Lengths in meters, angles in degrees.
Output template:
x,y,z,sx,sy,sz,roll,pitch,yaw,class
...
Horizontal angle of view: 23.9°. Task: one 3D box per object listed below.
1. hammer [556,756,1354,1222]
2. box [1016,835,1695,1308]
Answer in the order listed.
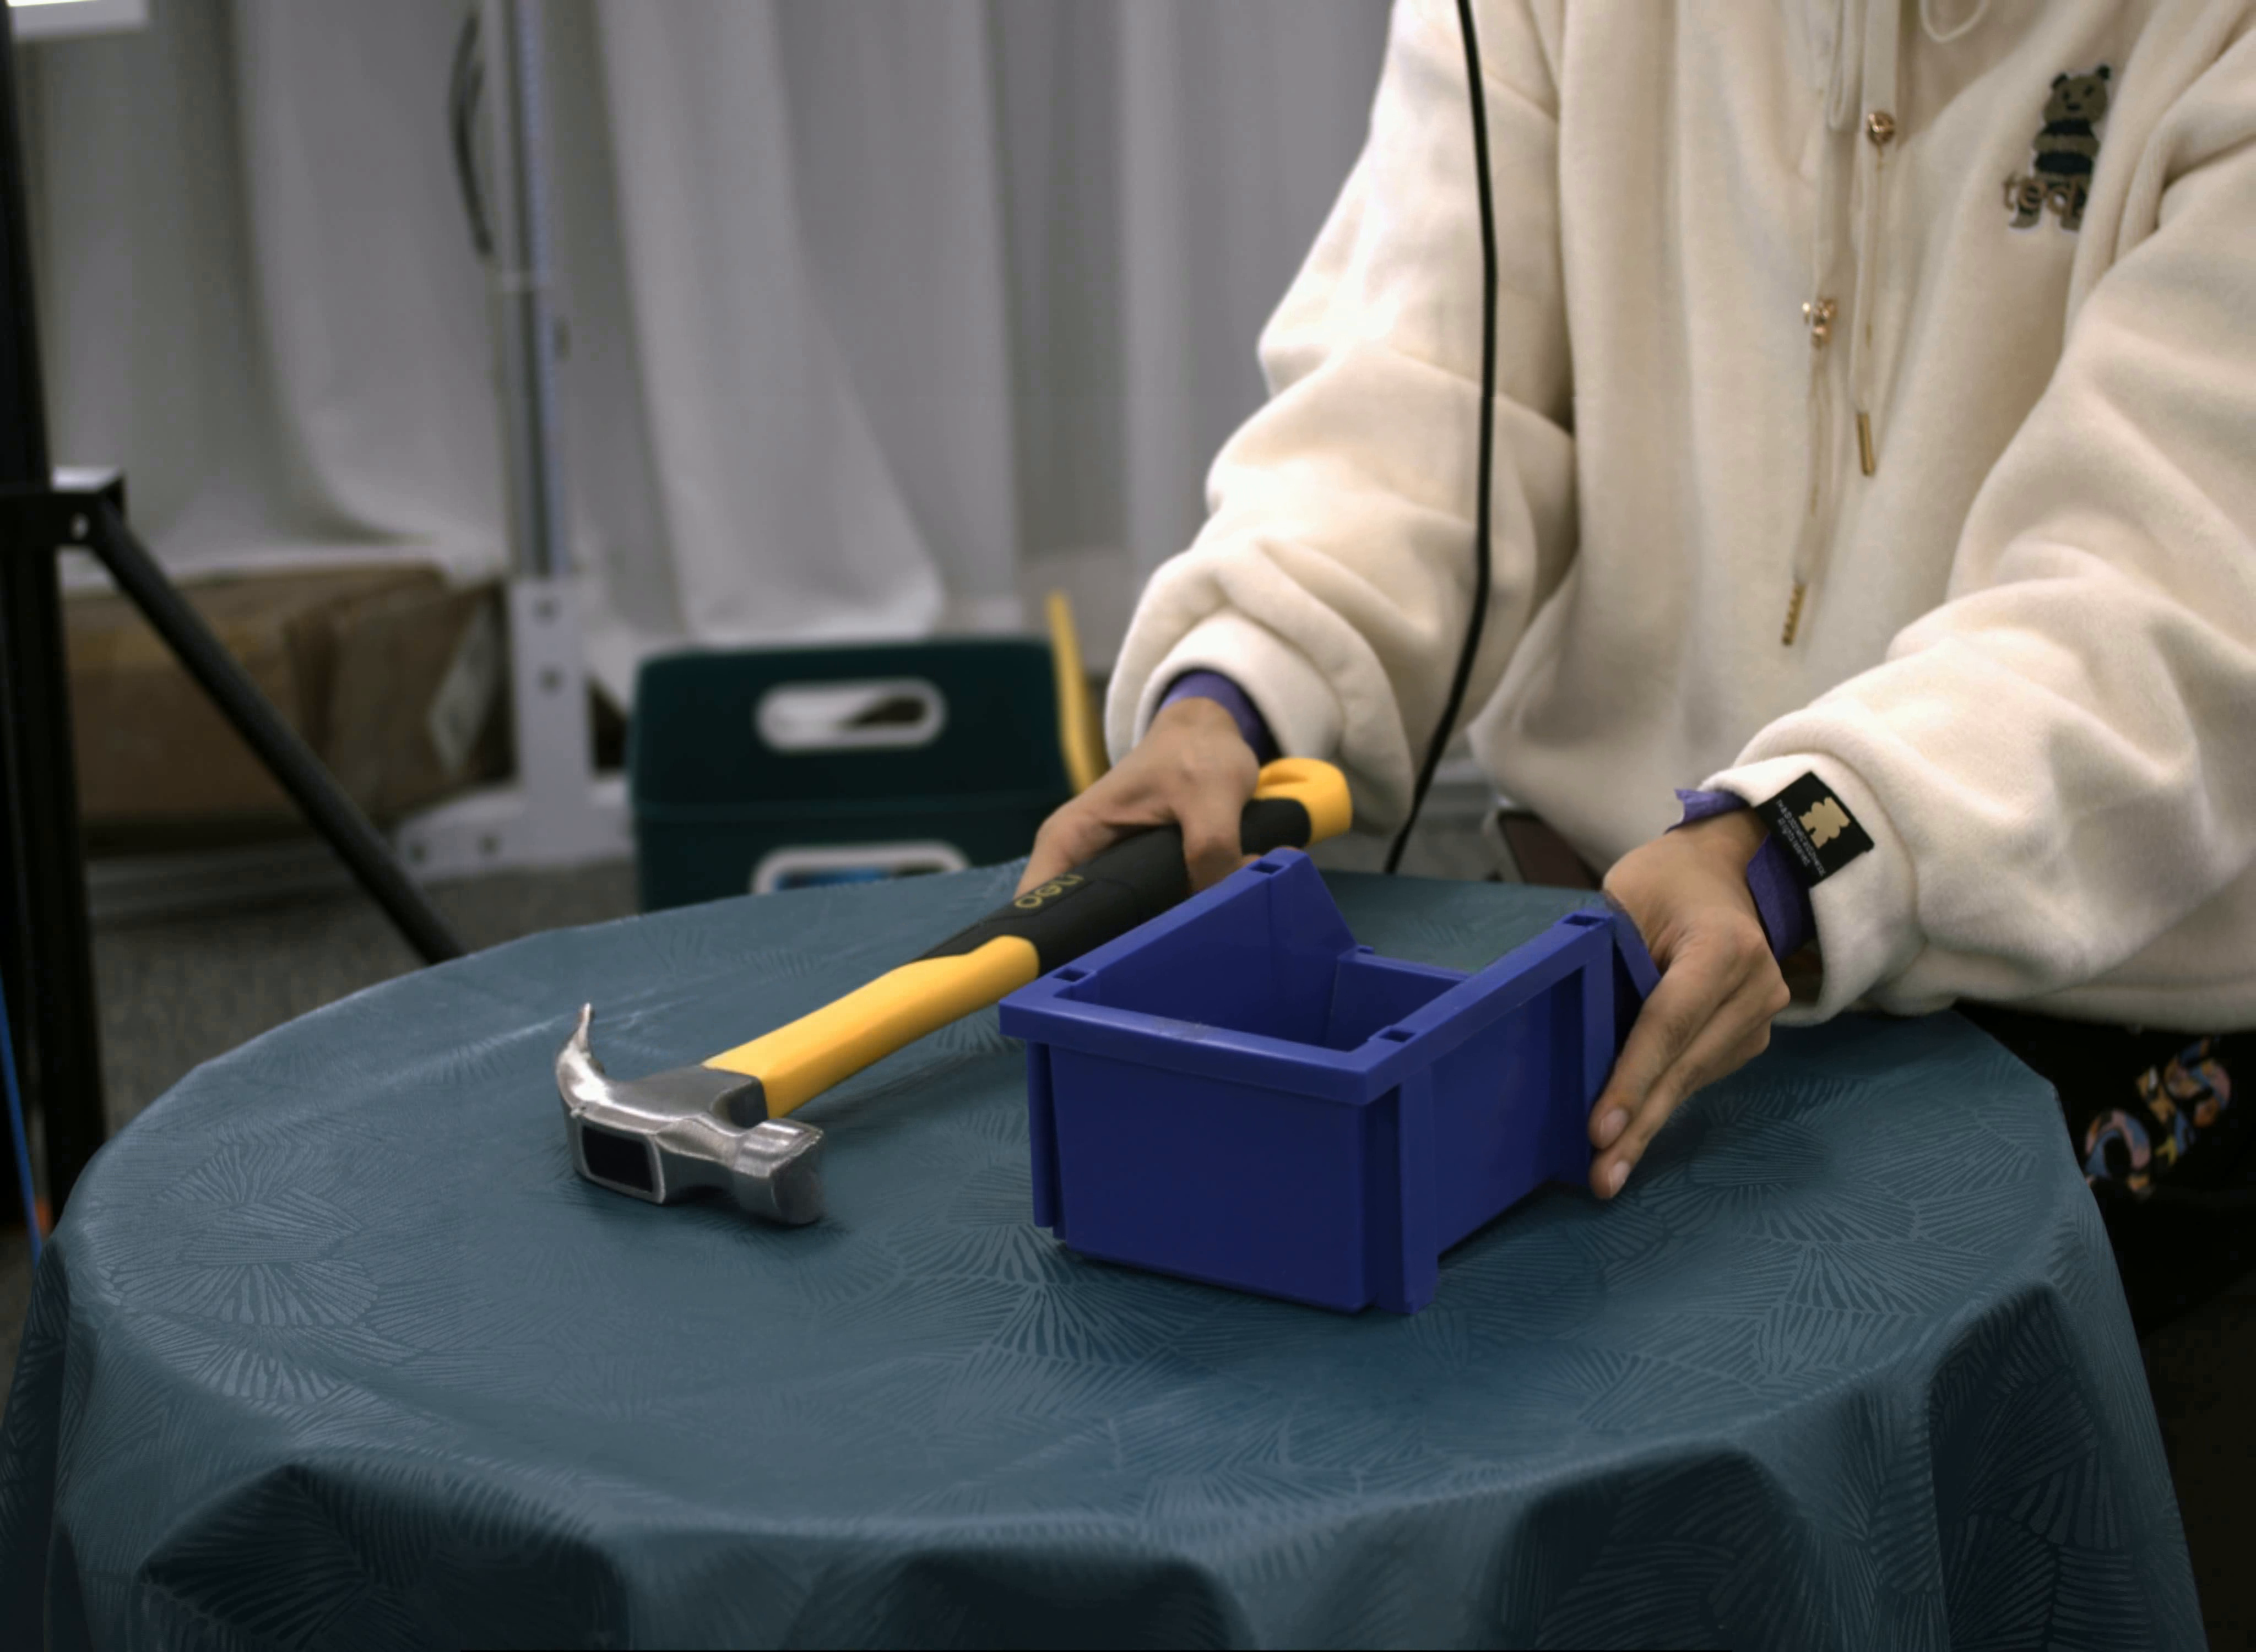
x,y,z,sx,sy,sz,roll,pitch,yaw,class
-0.043,0.042,1.683,0.134,0.032,0.332,10,26,42,hammer
0.067,0.066,1.530,0.127,0.082,0.176,10,24,34,box
